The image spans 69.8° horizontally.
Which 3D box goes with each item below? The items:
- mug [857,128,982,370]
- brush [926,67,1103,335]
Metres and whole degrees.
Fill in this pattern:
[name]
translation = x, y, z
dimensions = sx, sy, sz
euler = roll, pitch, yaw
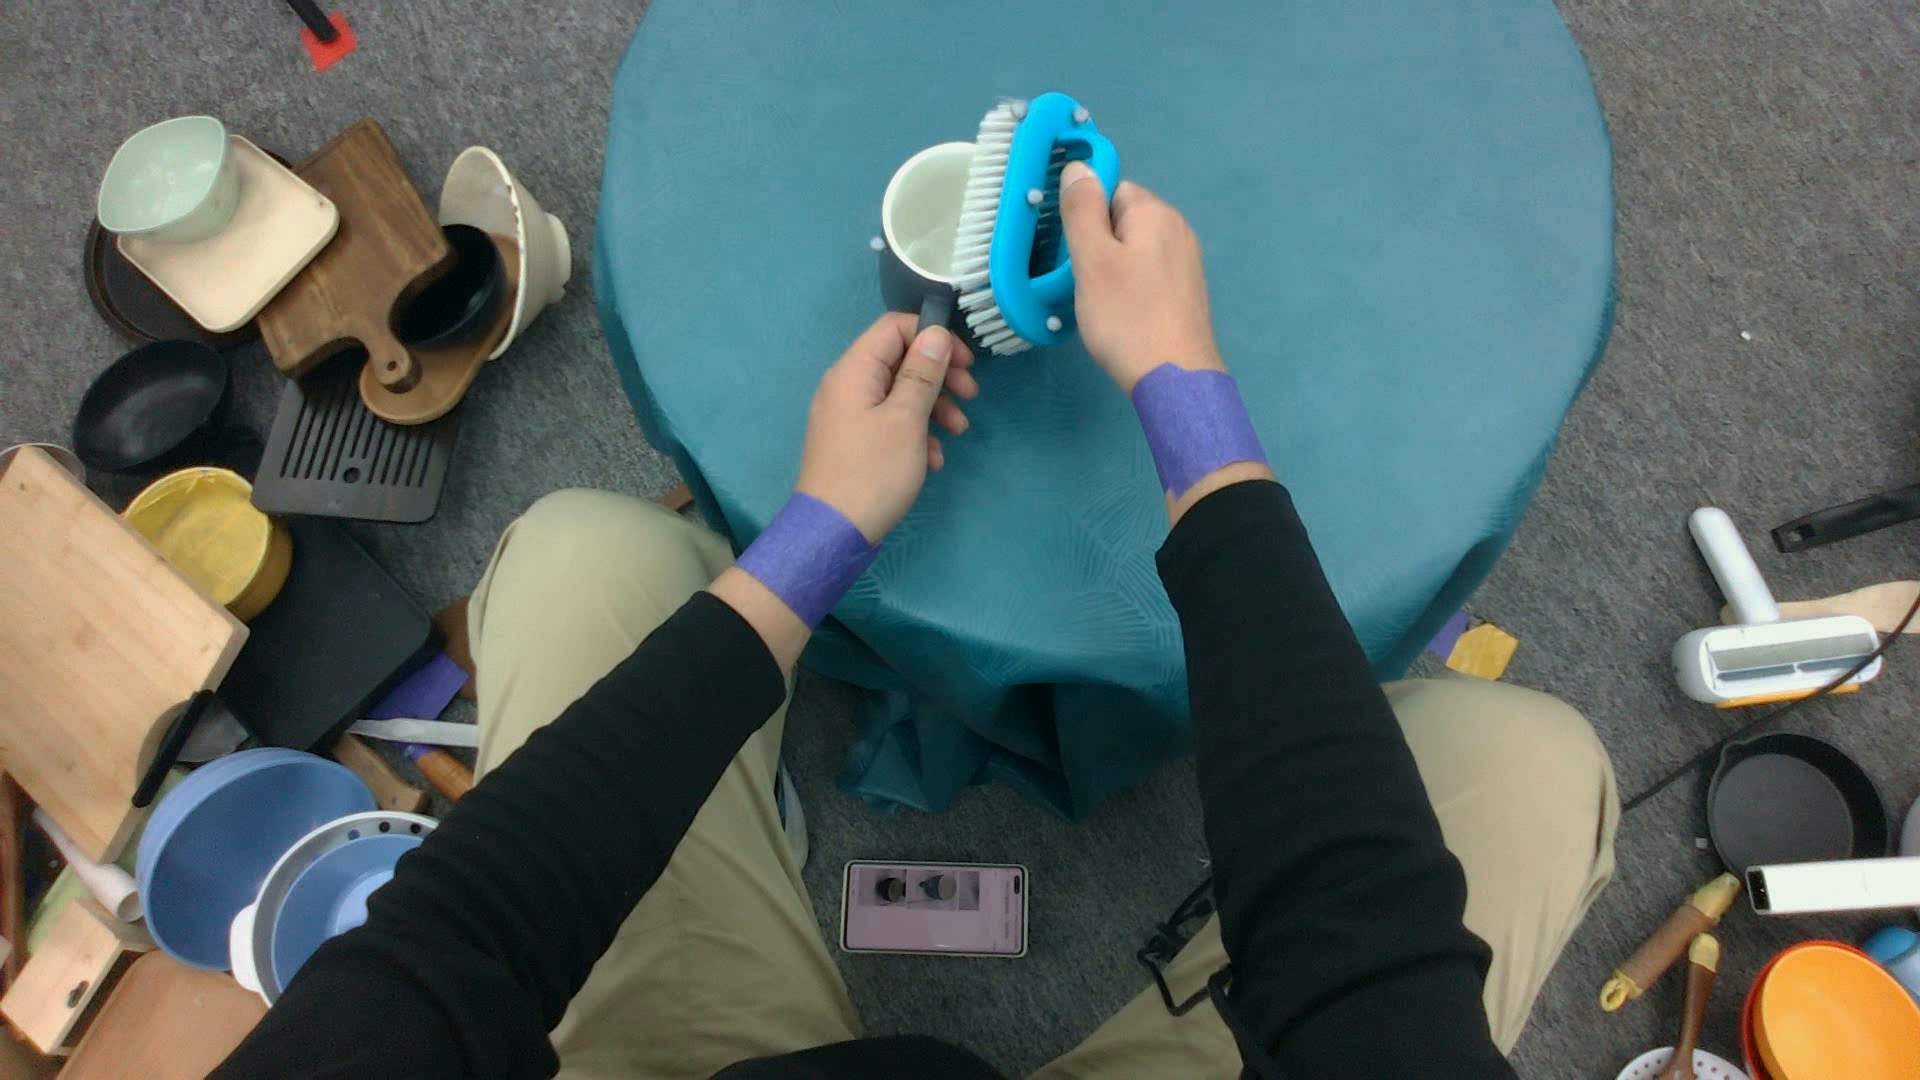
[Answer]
[mug]
translation = -0.015, -0.152, 0.750
dimensions = 0.093, 0.089, 0.123
euler = 14, 73, 5
[brush]
translation = 0.039, -0.174, 0.707
dimensions = 0.063, 0.084, 0.142
euler = 0, 69, 38
